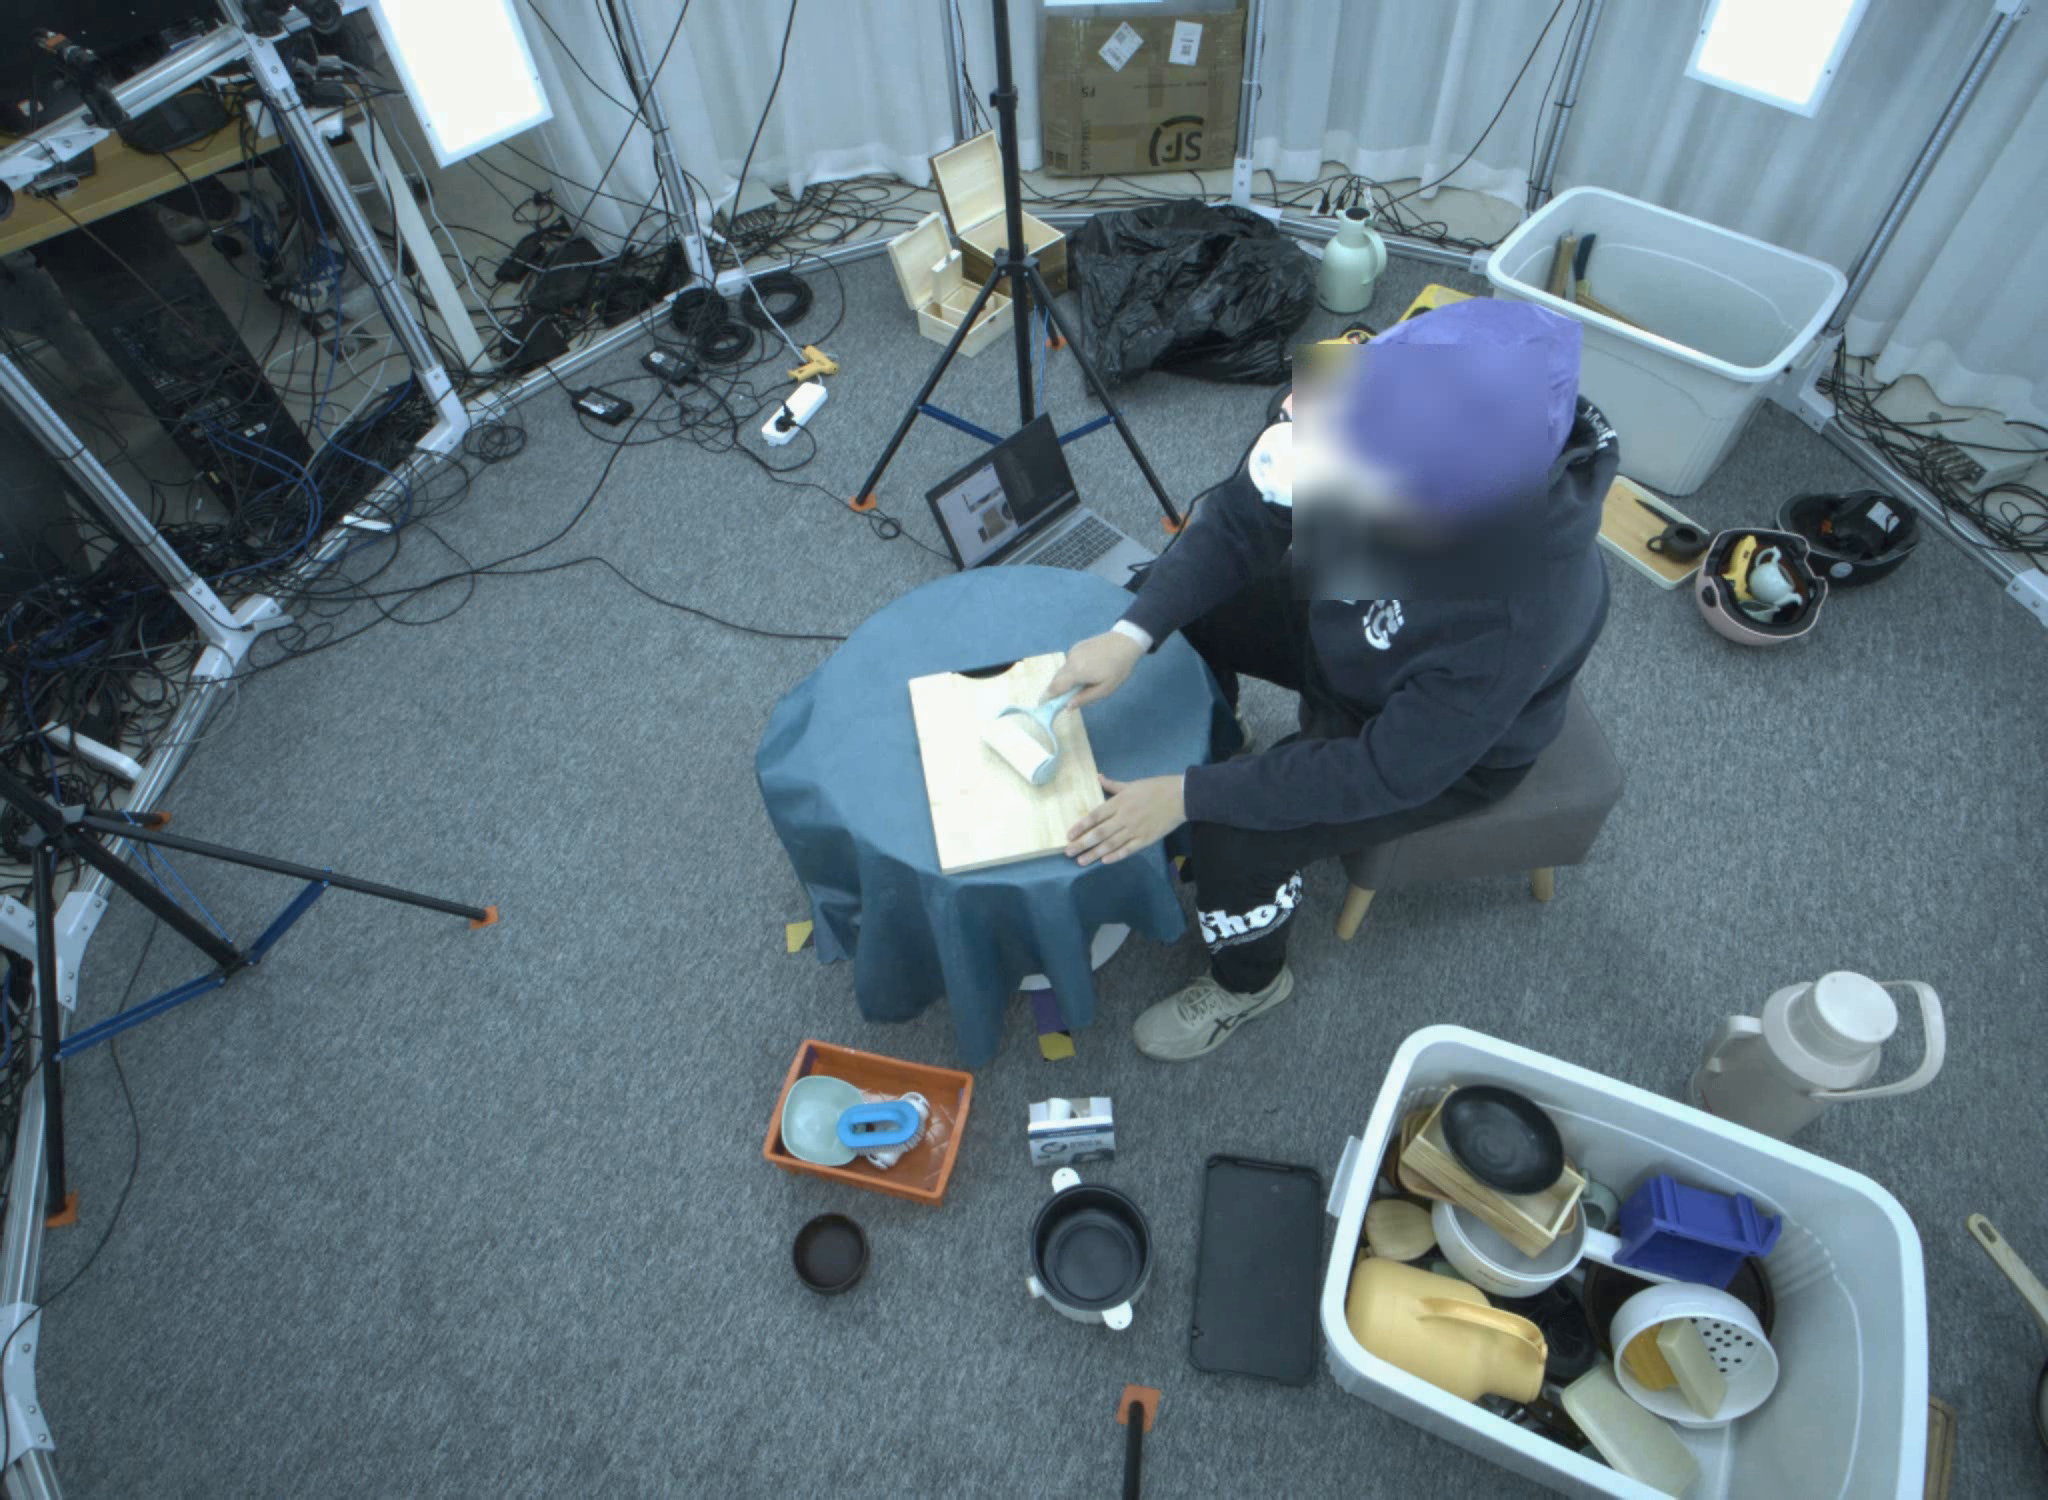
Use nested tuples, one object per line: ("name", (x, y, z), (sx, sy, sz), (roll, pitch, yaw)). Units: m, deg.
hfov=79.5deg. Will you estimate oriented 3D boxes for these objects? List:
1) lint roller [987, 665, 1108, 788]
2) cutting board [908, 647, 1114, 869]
("lint roller", (0.047, -0.048, 1.735), (0.197, 0.049, 0.114), (-47, 61, -1))
("cutting board", (-0.026, 0.006, 1.775), (0.252, 0.024, 0.343), (-10, 55, -6))
